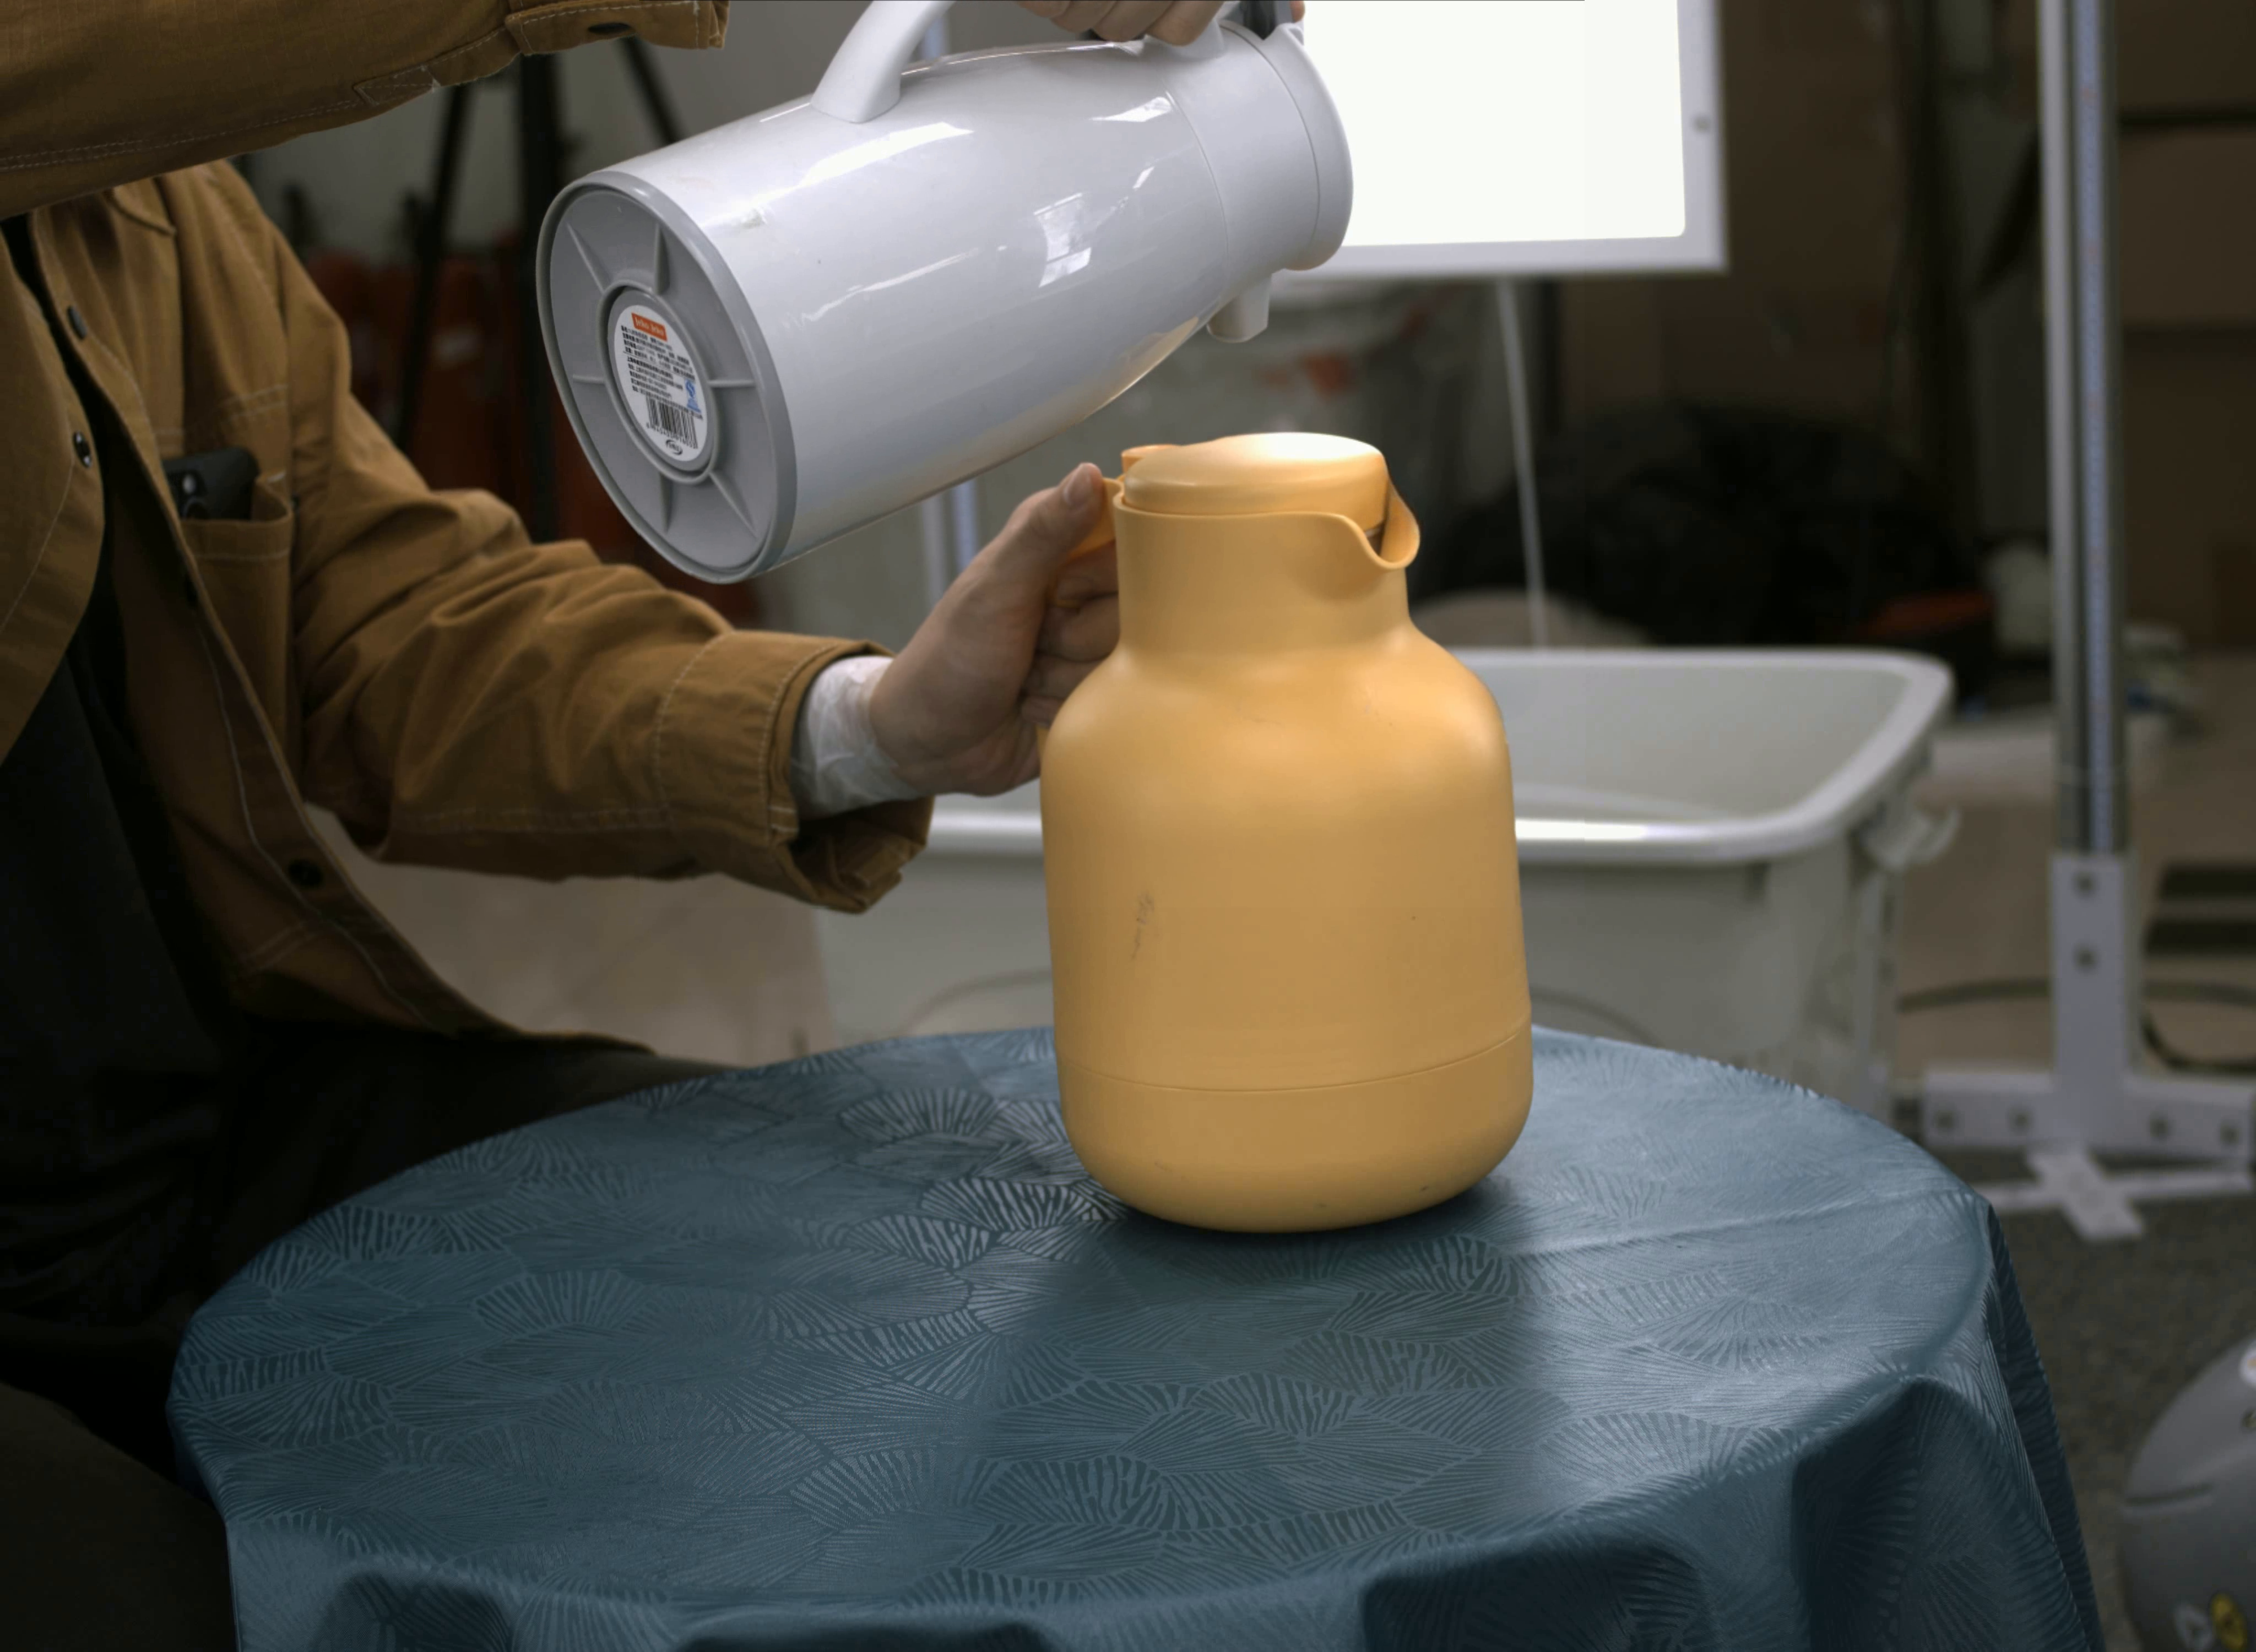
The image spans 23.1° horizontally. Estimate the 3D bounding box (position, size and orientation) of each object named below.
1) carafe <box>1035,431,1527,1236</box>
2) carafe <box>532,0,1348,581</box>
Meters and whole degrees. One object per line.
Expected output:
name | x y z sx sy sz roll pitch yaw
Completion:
carafe | 0.041 -0.005 1.876 0.159 0.261 0.206 -12 17 -32
carafe | -0.049 -0.196 1.719 0.243 0.168 0.135 -25 36 -27
